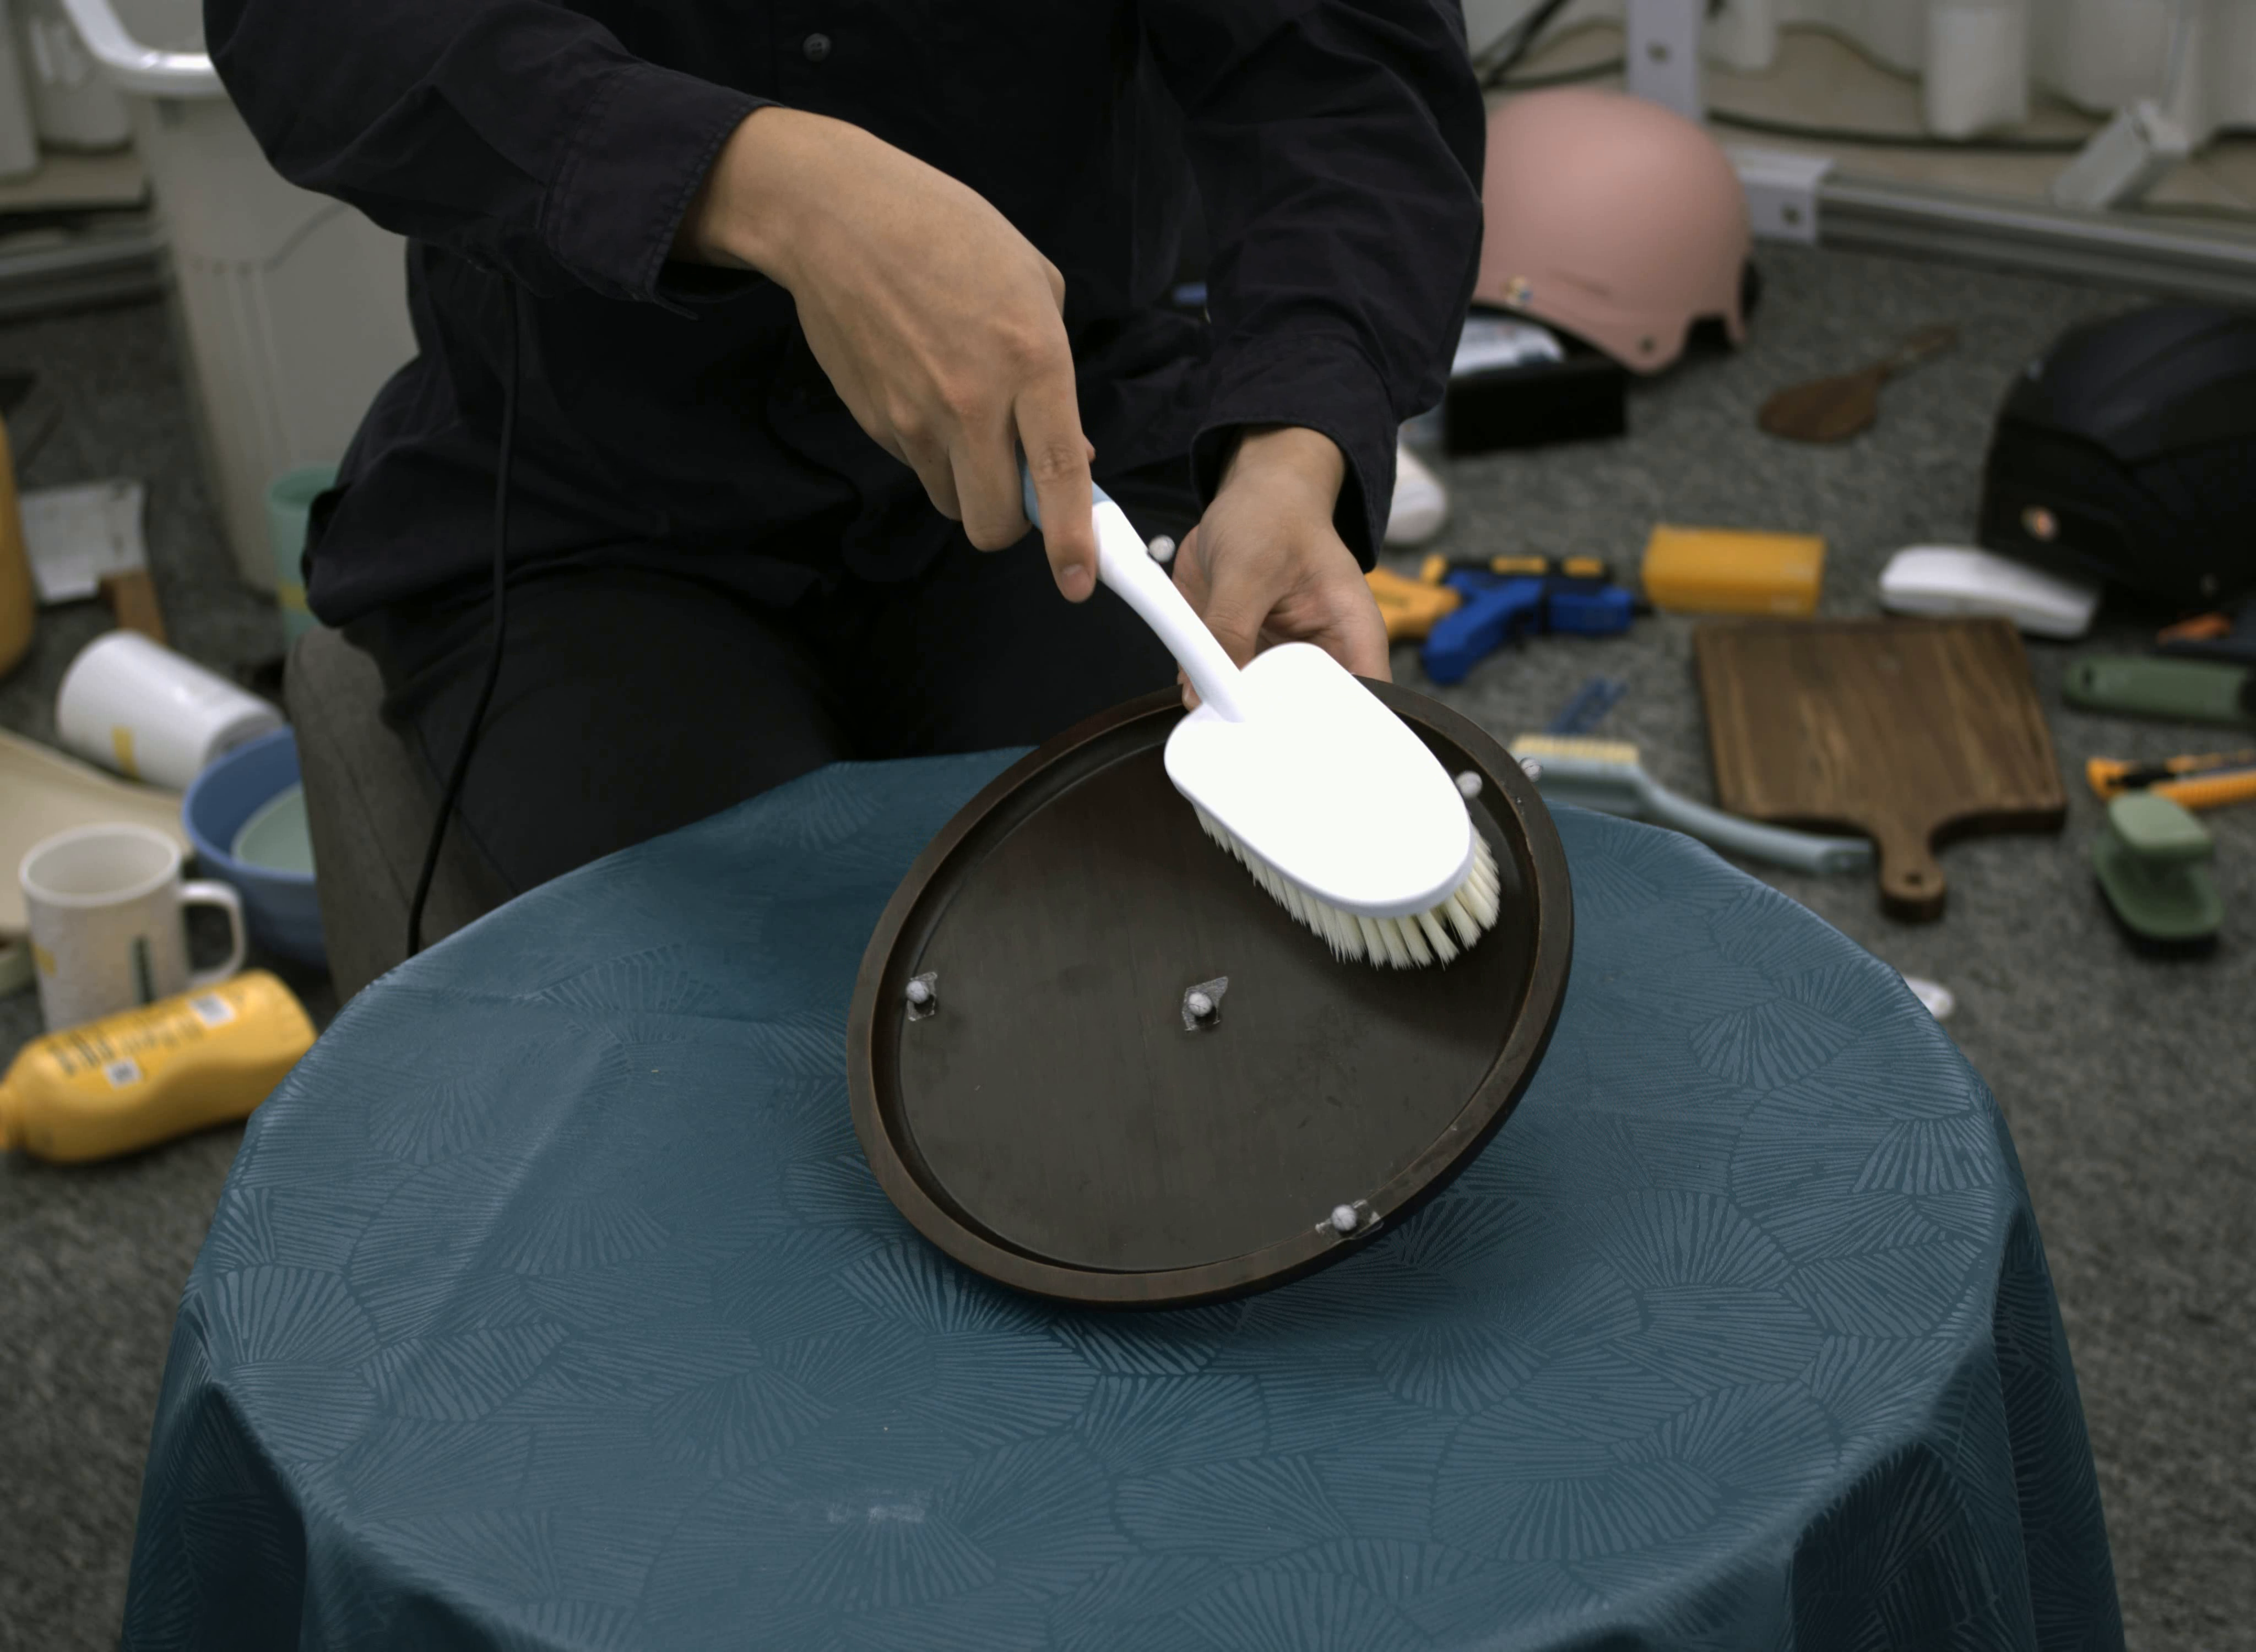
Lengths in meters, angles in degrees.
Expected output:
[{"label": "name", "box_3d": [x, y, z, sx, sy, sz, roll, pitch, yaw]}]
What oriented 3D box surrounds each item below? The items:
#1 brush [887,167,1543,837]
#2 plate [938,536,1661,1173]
[{"label": "brush", "box_3d": [0.031, -0.109, 1.917, 0.084, 0.083, 0.327, -18, 53, -40]}, {"label": "plate", "box_3d": [0.057, 0.008, 1.868, 0.252, 0.029, 0.260, -13, 49, 16]}]
